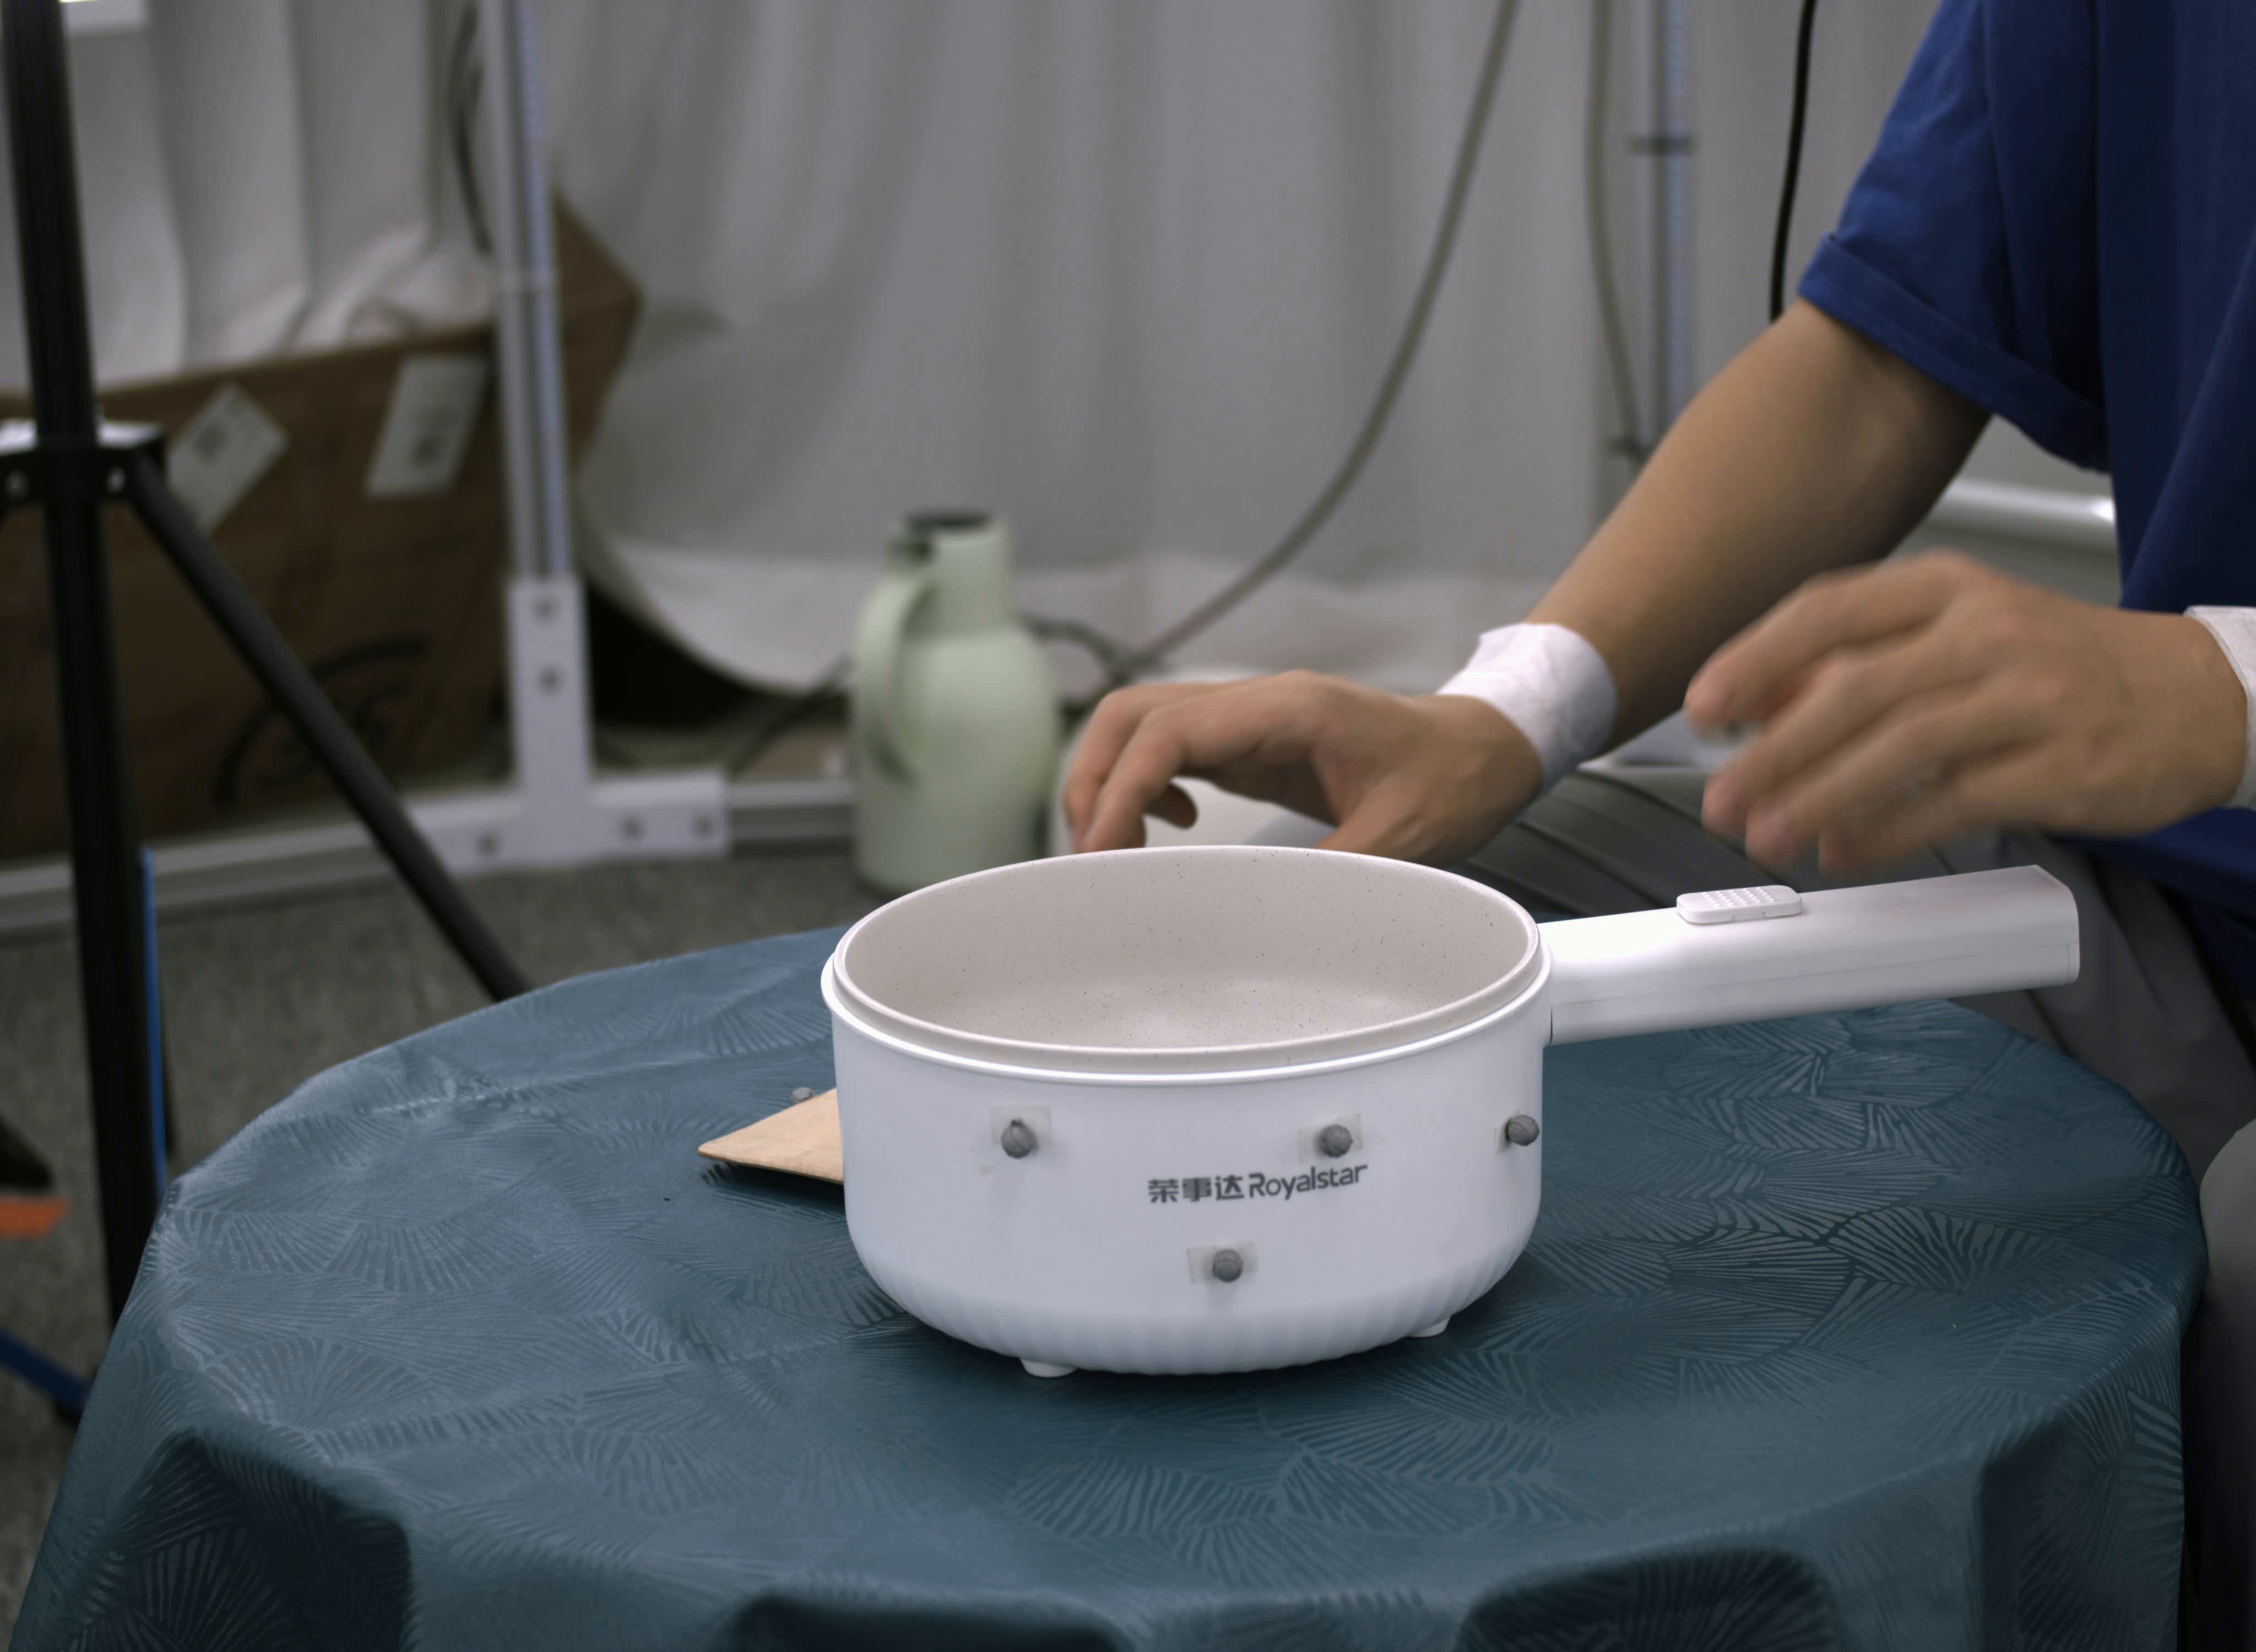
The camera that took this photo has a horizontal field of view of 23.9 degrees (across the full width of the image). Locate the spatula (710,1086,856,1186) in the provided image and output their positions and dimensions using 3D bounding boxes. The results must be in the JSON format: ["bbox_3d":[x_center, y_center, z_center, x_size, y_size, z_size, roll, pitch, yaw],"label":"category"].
[{"bbox_3d":[-0.019,0.068,1.684,0.074,0.010,0.287,7,19,34],"label":"spatula"}]

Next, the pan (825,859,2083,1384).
[{"bbox_3d":[0.093,0.076,1.480,0.350,0.102,0.203,-5,14,-9],"label":"pan"}]
